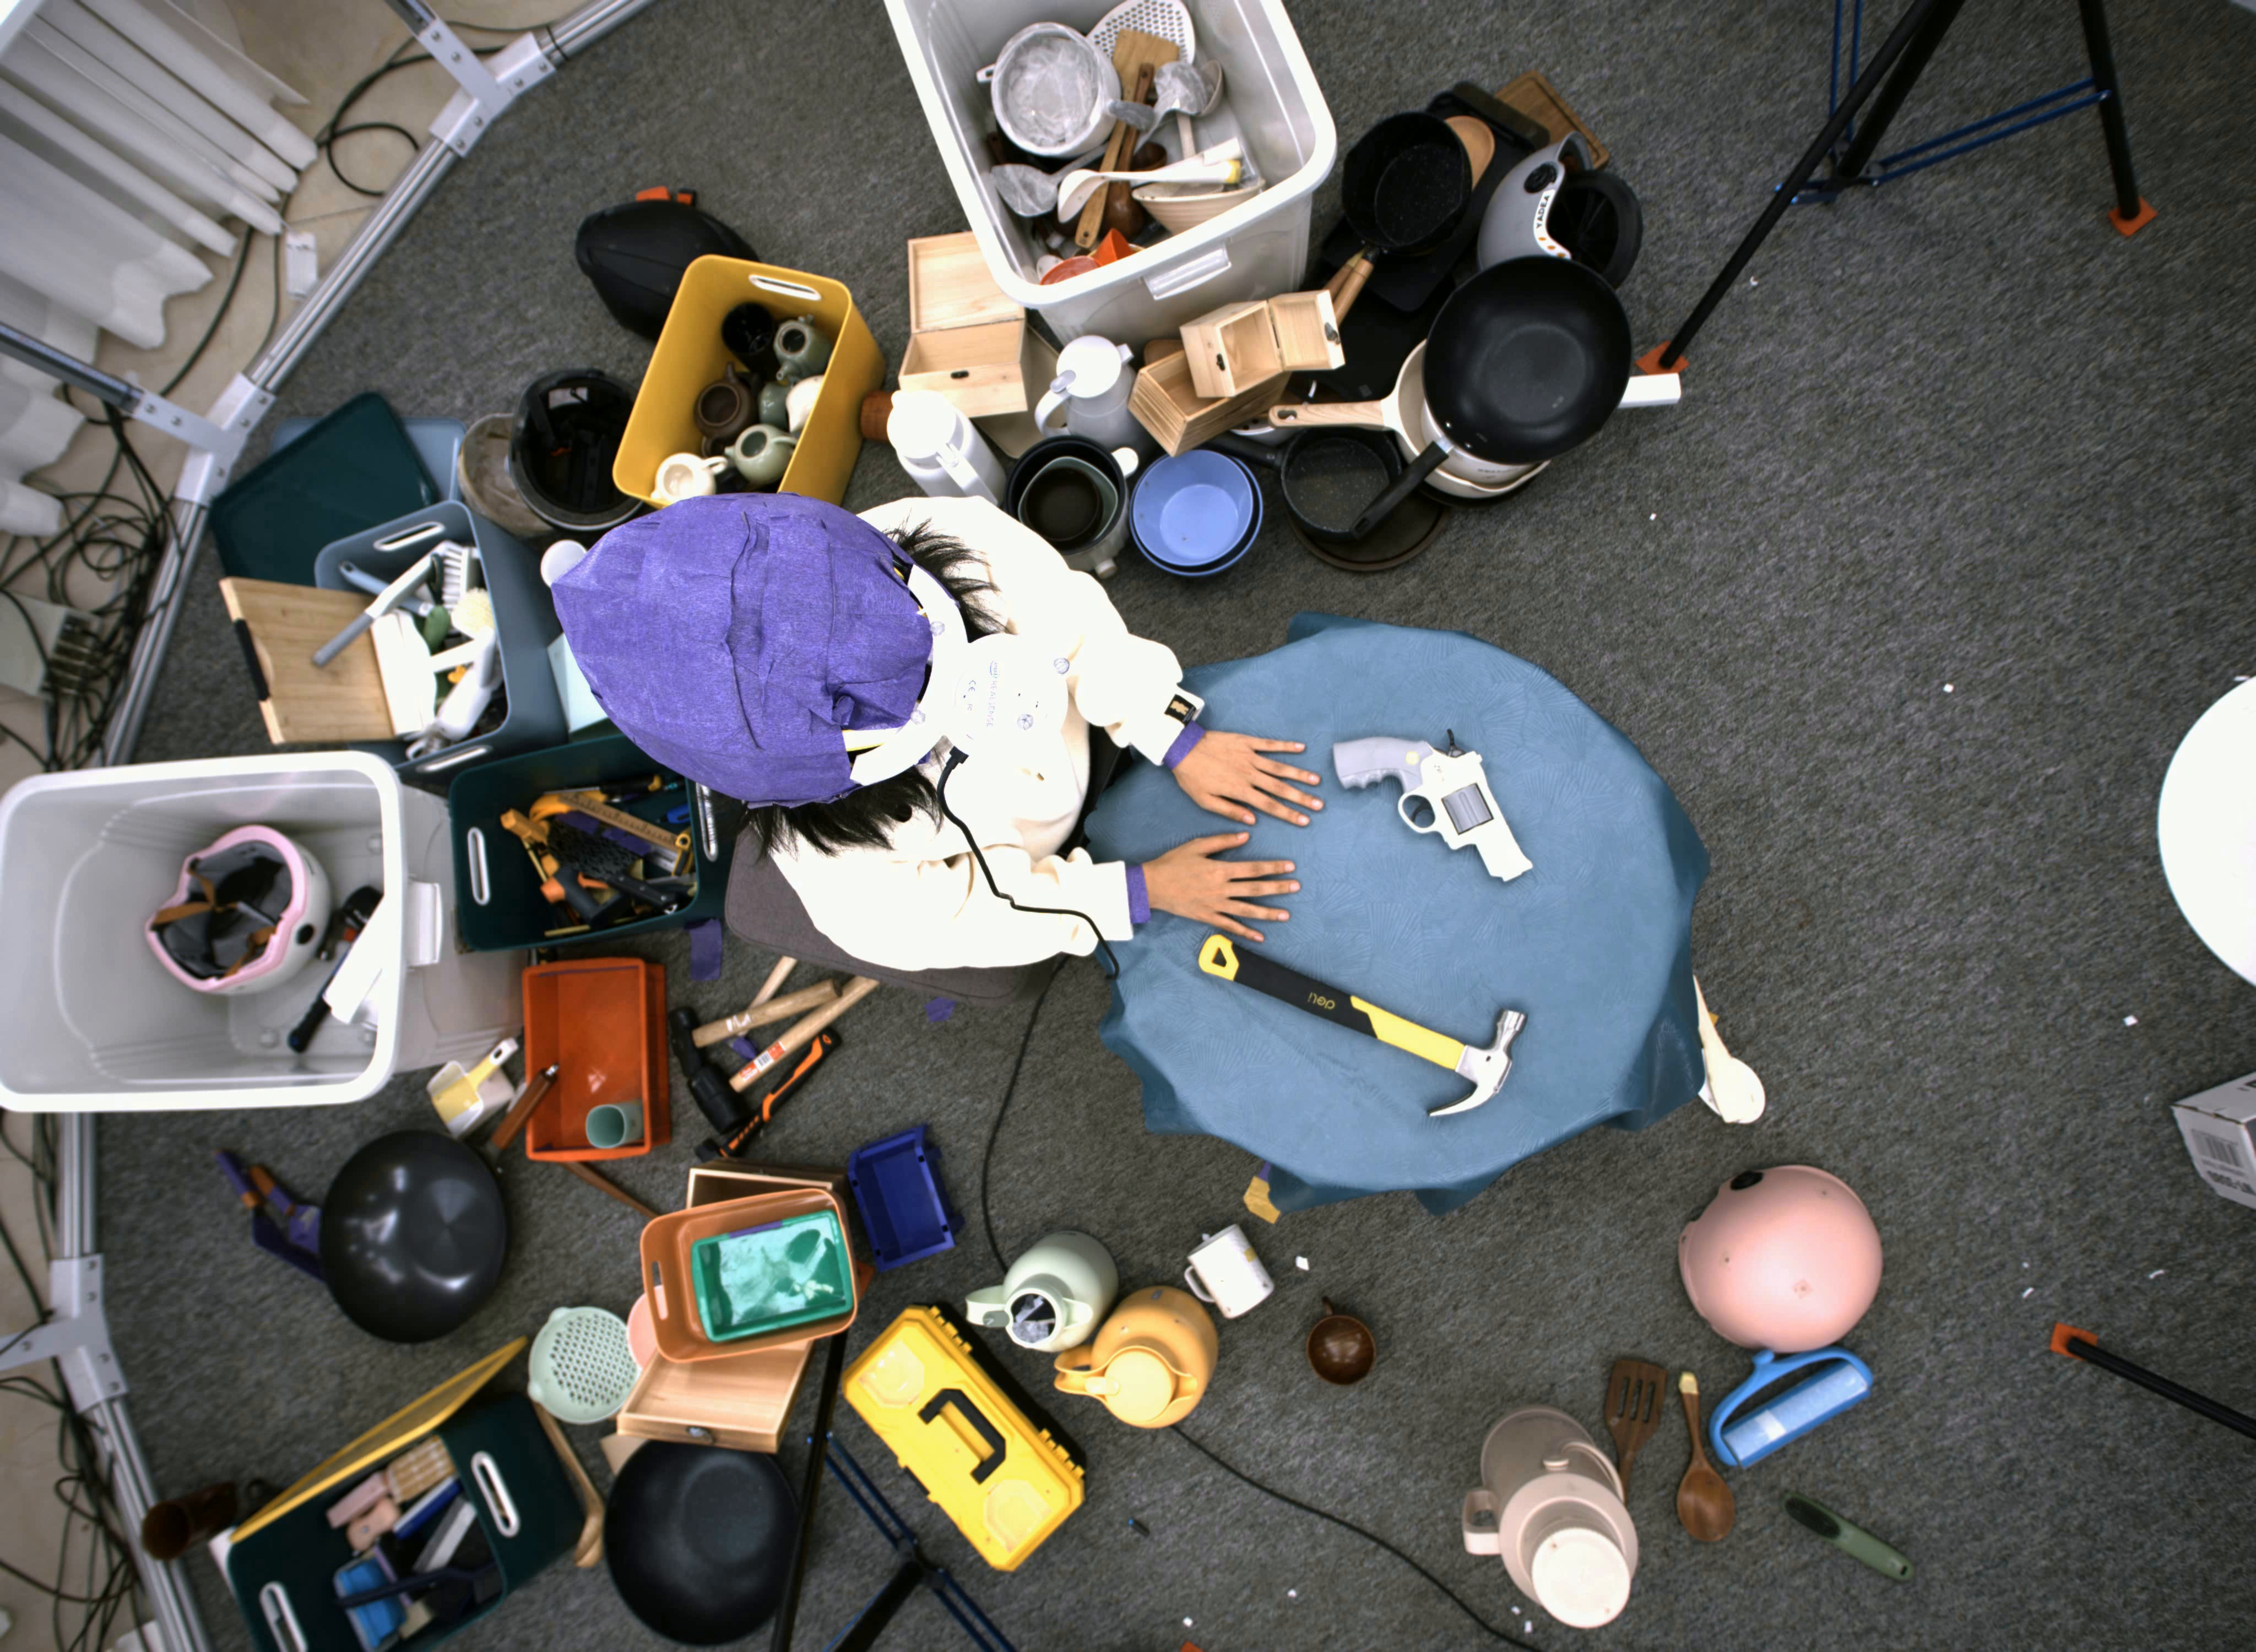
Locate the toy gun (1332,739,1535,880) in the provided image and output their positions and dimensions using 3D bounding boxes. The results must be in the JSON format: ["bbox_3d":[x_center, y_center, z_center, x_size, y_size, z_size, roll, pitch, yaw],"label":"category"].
[{"bbox_3d":[0.315,-0.020,1.437,0.142,0.039,0.208,-27,82,7],"label":"toy gun"}]

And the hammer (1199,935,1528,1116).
[{"bbox_3d":[0.233,0.192,1.442,0.338,0.032,0.131,22,93,10],"label":"hammer"}]
